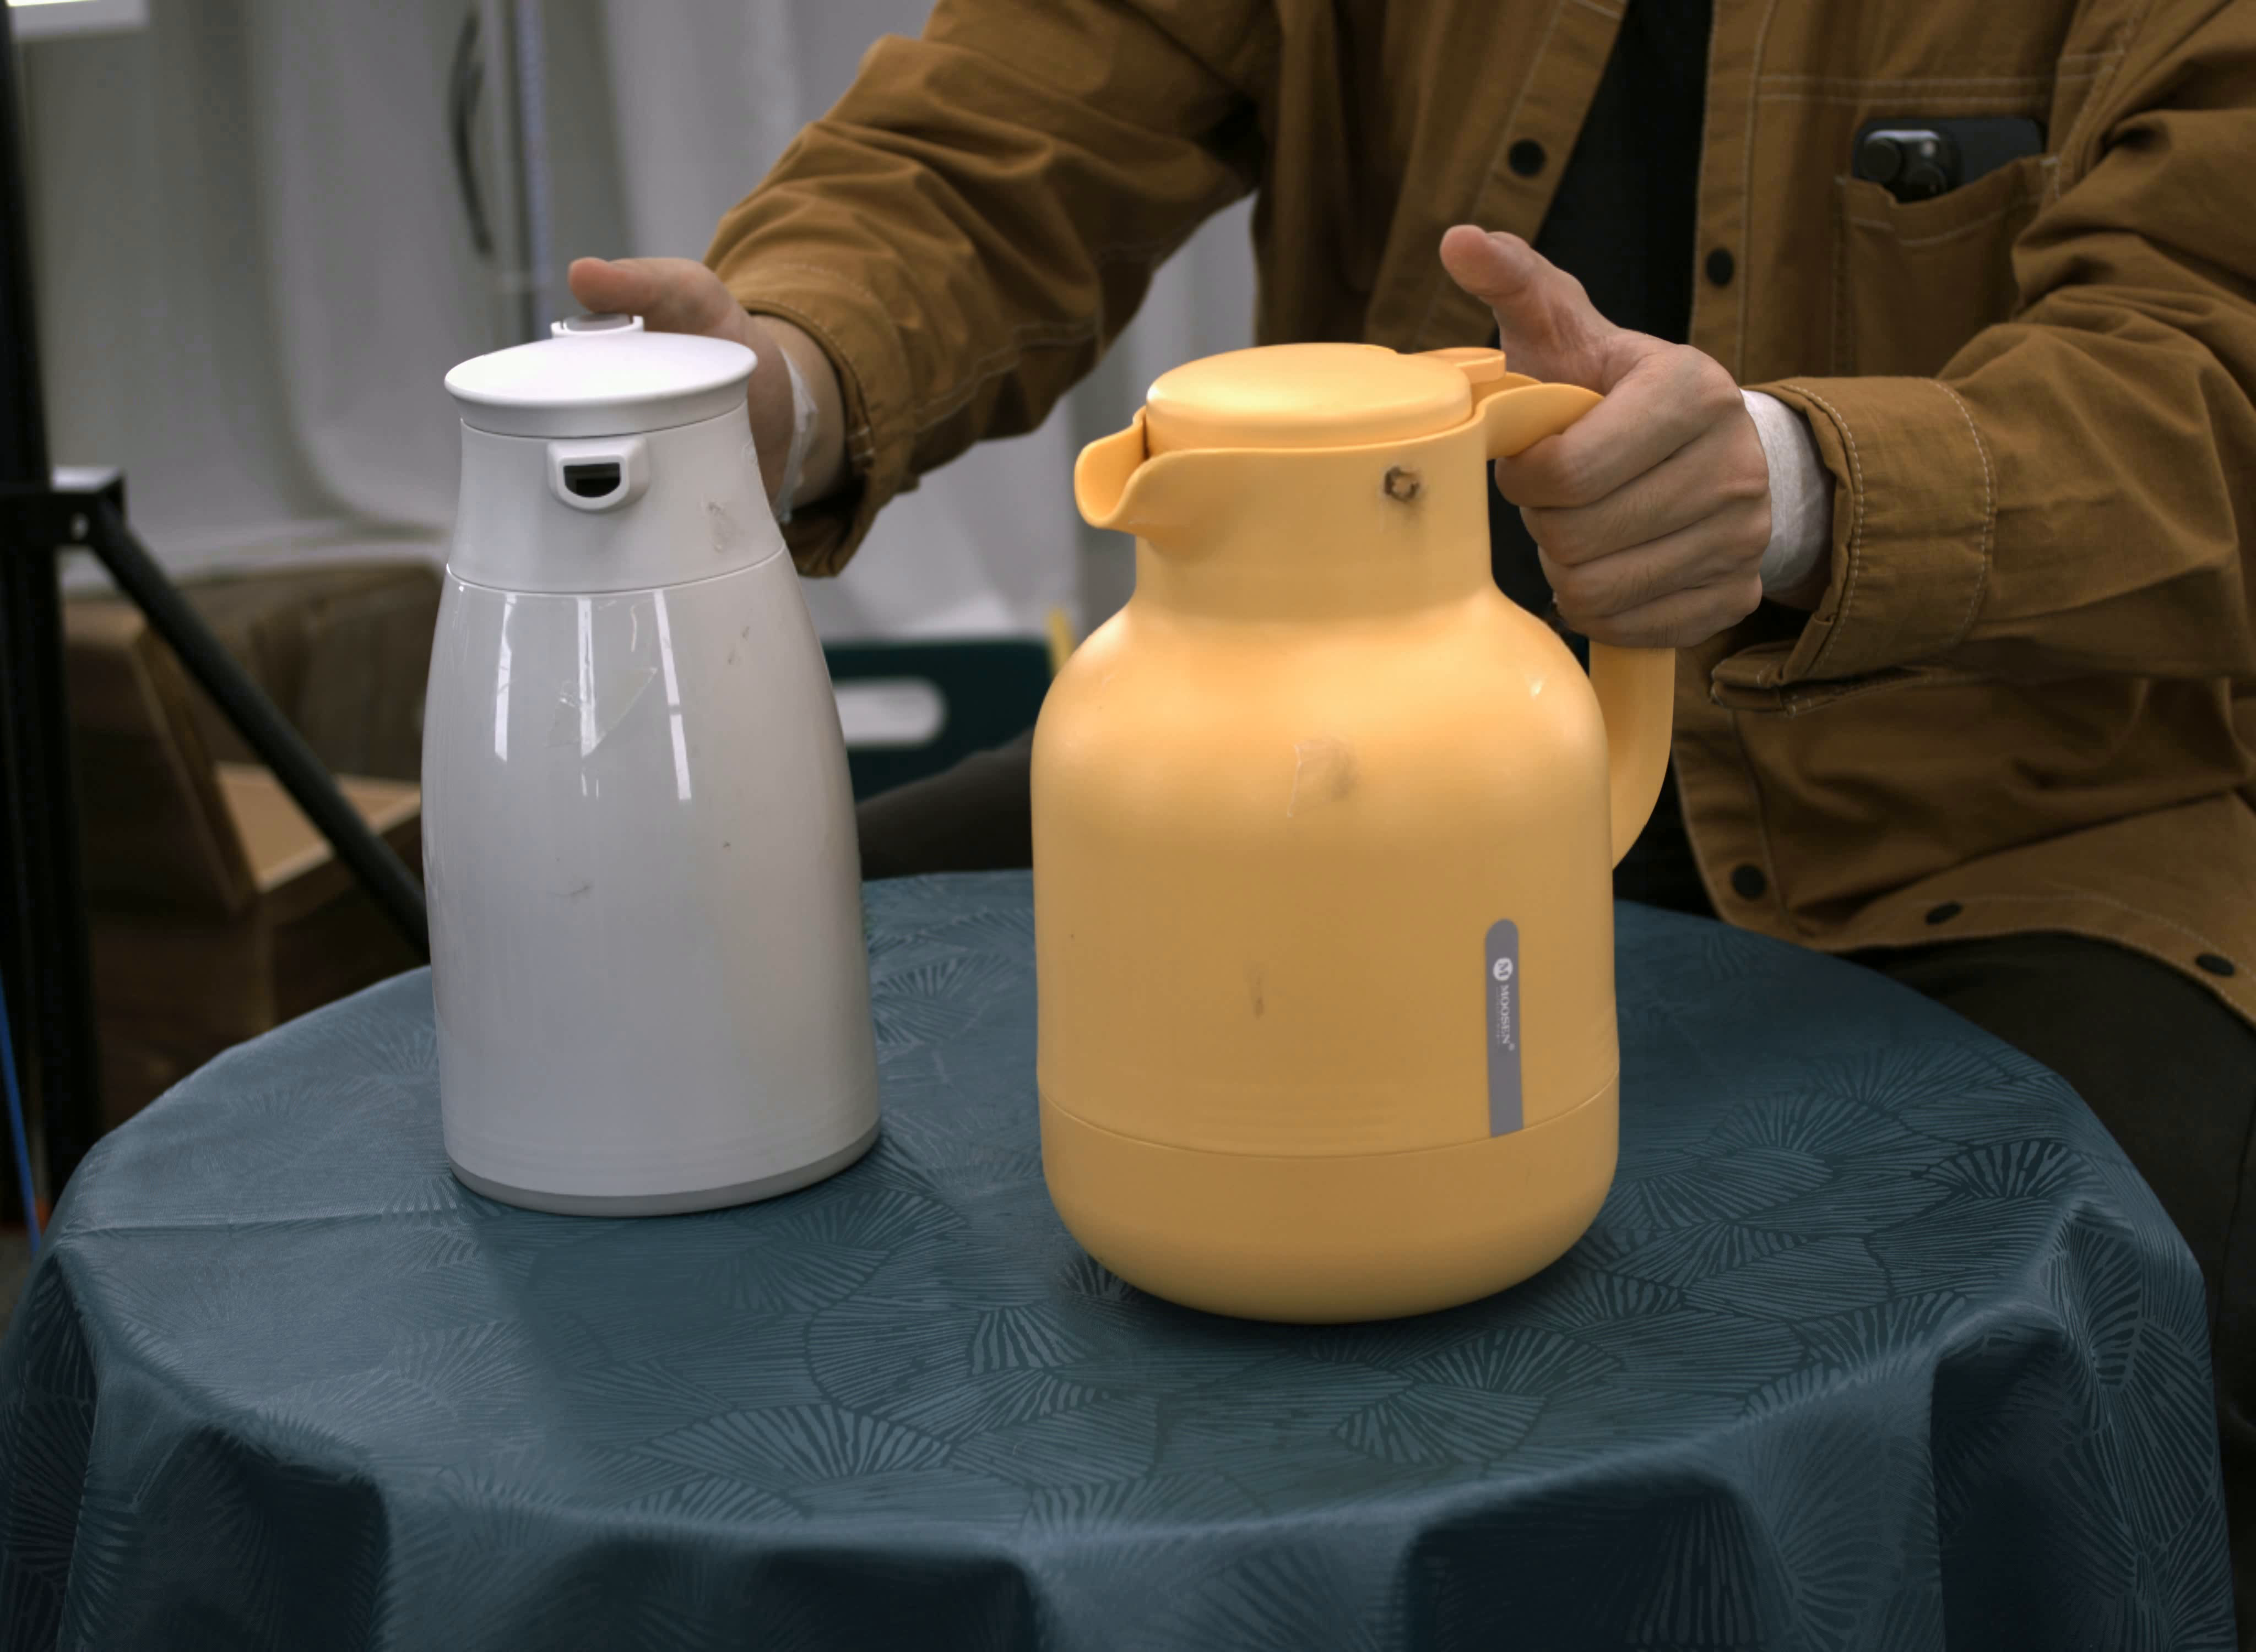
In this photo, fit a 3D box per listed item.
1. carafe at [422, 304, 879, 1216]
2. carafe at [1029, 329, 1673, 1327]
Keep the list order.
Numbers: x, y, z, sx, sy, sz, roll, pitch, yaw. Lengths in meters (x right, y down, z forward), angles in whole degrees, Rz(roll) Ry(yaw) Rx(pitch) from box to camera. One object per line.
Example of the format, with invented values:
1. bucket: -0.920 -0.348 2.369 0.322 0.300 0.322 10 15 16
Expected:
1. carafe: -0.148 -0.028 1.601 0.132 0.248 0.168 -4 15 0
2. carafe: 0.070 -0.007 1.470 0.198 0.260 0.167 -14 21 -31
